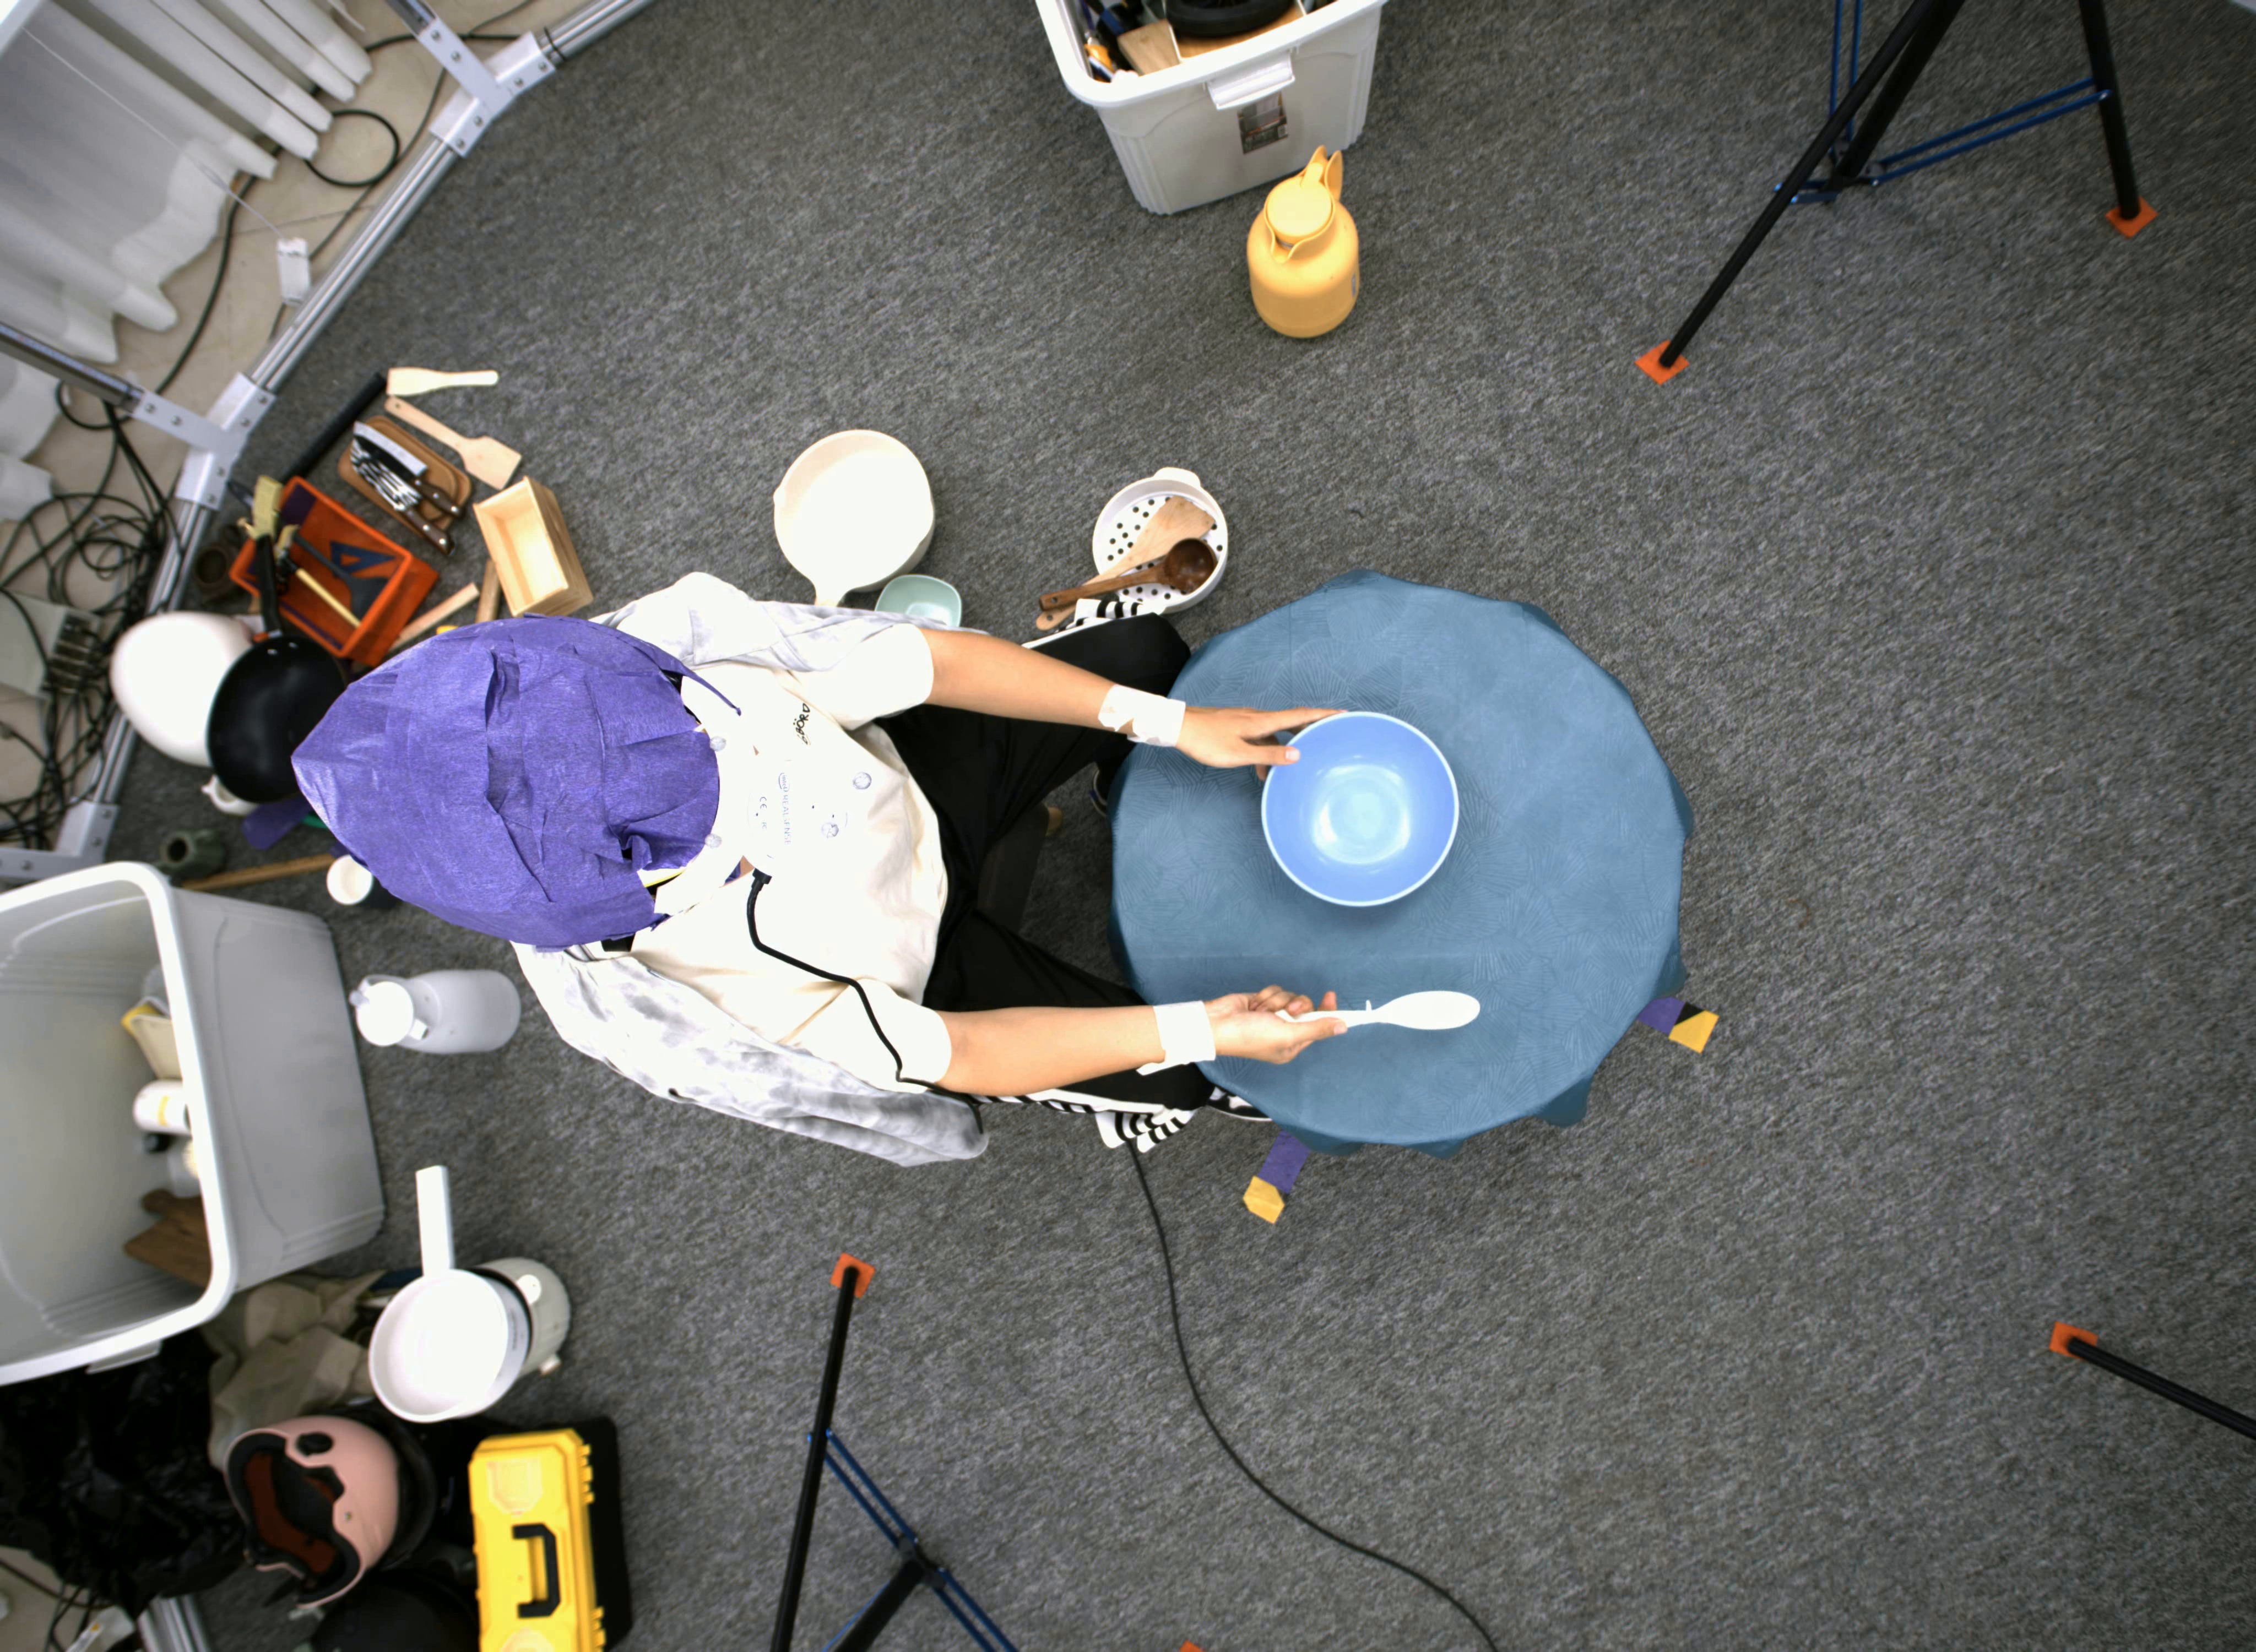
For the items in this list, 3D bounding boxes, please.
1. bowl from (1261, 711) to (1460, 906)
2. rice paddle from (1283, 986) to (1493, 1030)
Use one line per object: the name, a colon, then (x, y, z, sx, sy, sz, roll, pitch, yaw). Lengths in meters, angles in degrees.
bowl: (0.238, -0.015, 1.419, 0.197, 0.095, 0.196, -1, 87, 9)
rice paddle: (0.257, 0.182, 1.370, 0.206, 0.068, 0.030, 4, 104, 12)
